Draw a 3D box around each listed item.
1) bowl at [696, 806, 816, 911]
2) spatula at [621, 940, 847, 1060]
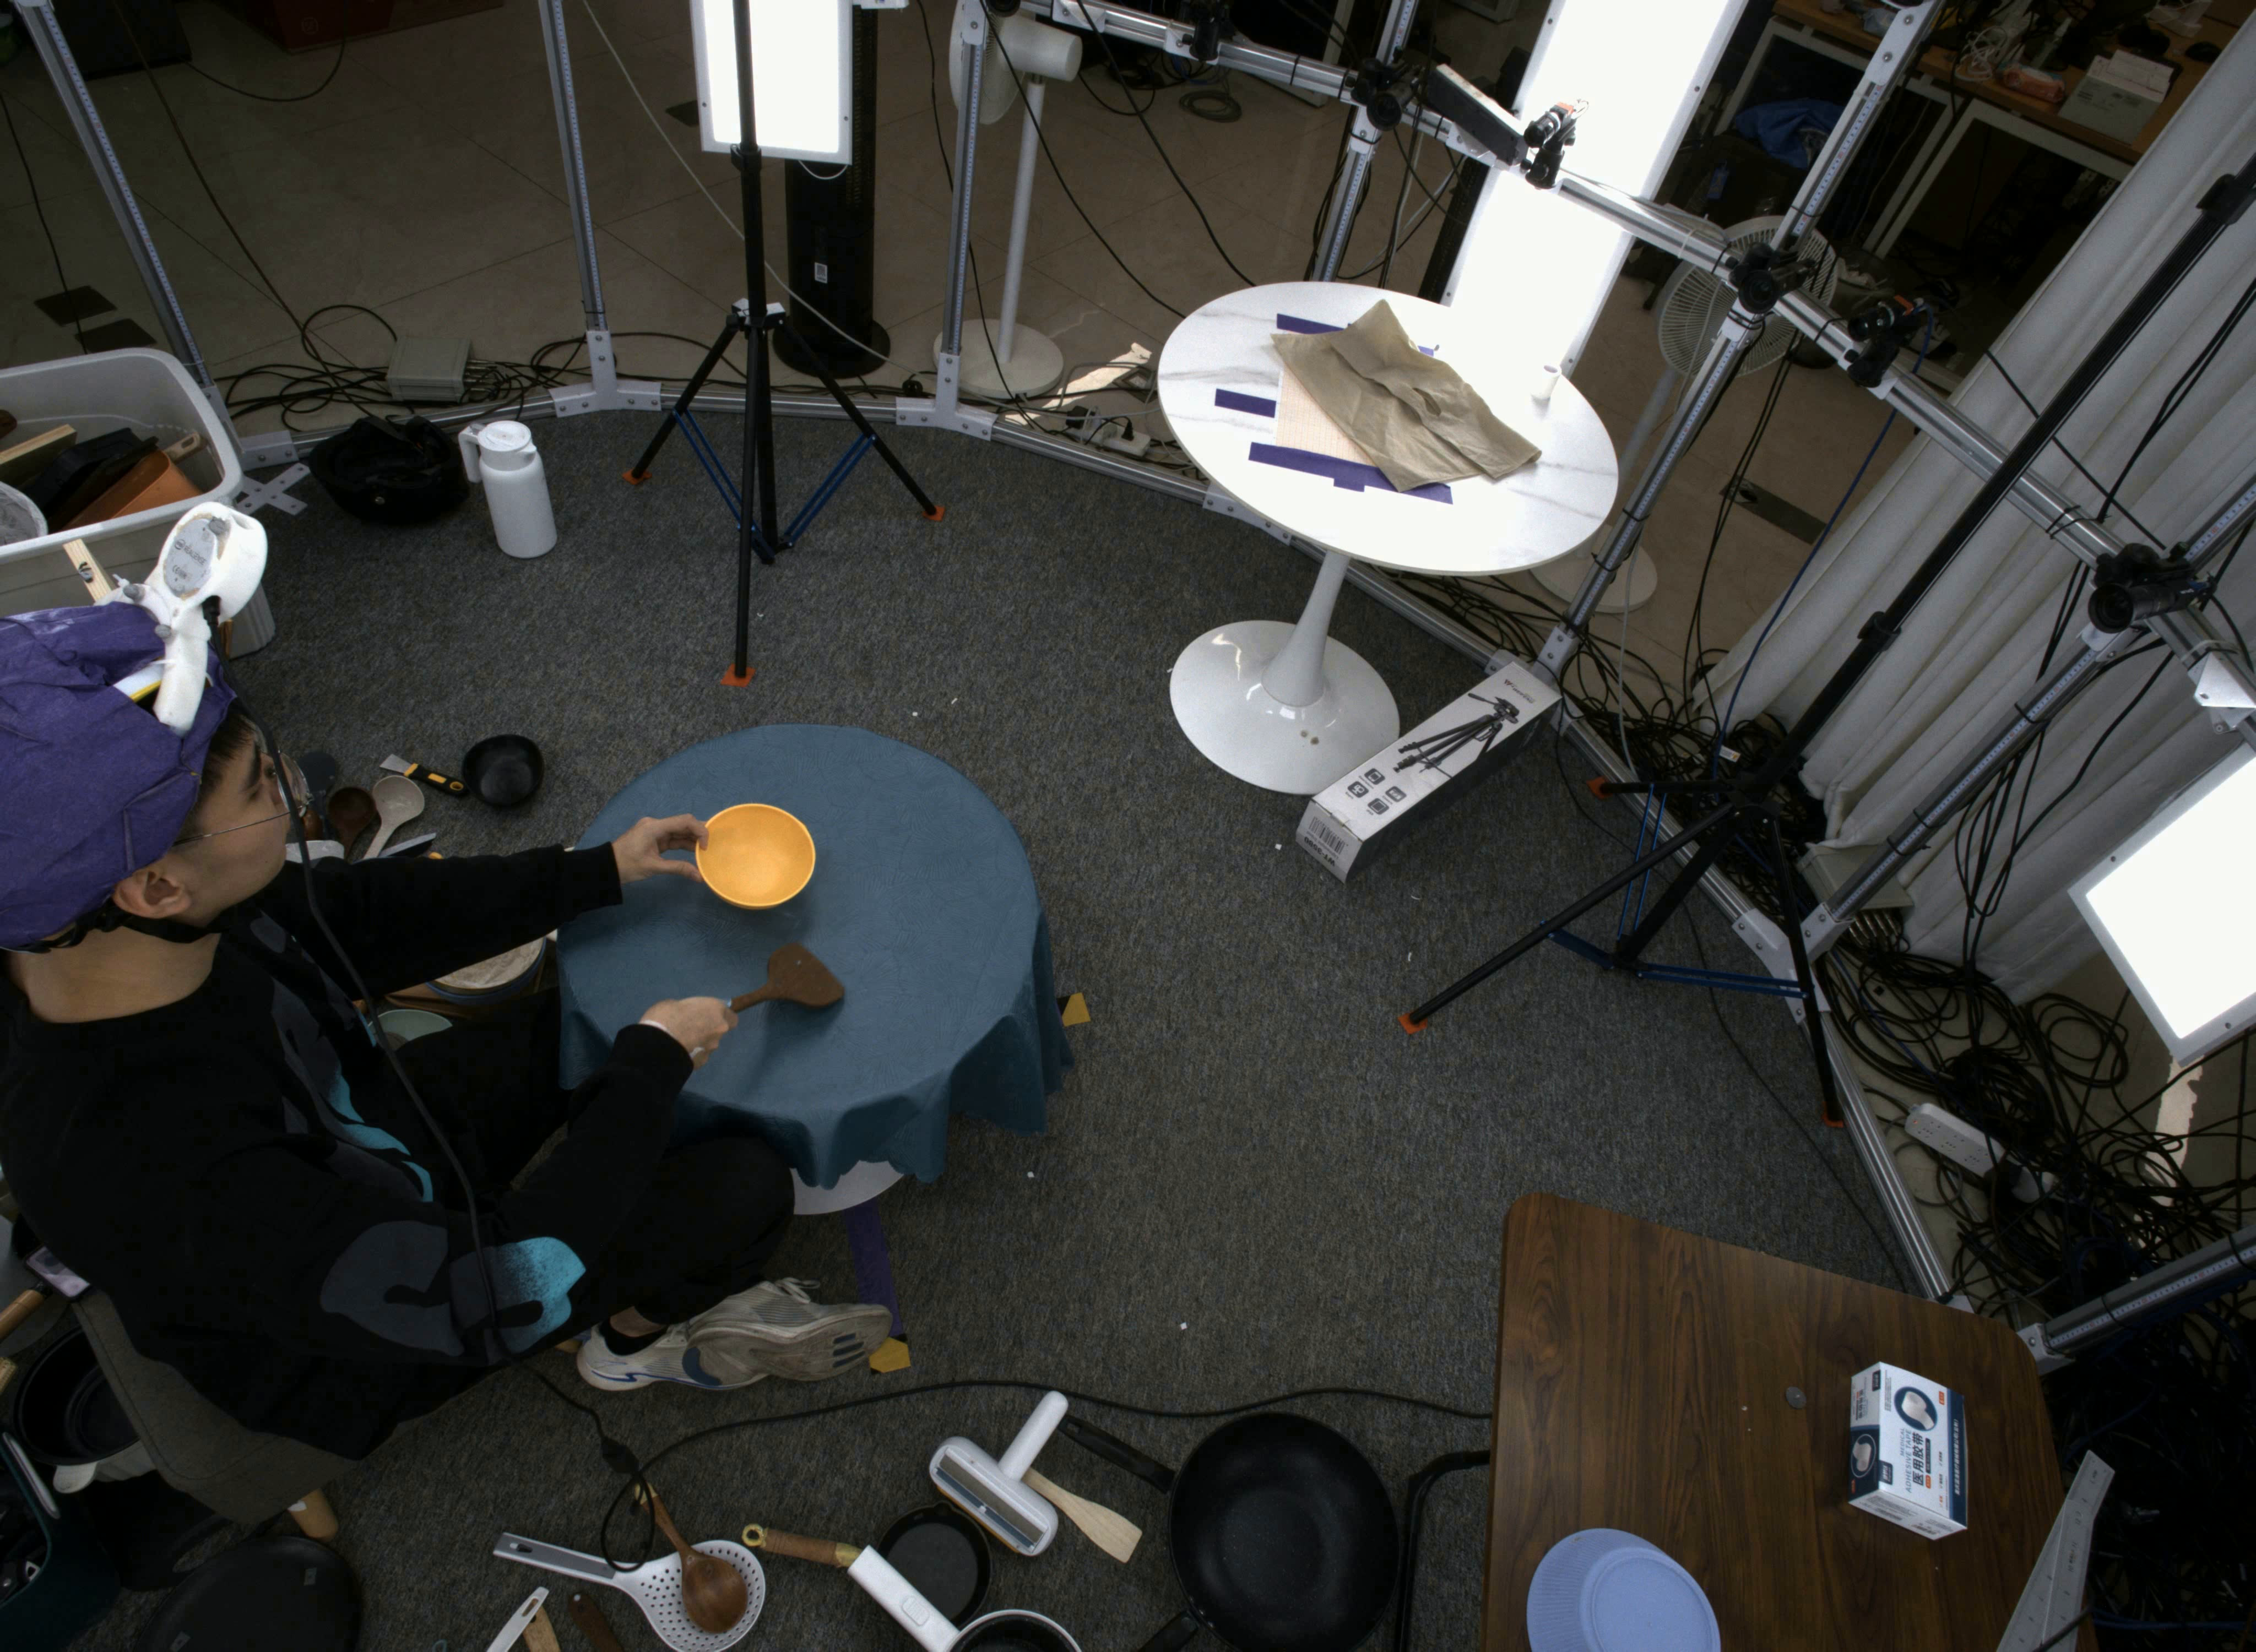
[{"bbox_3d":[-0.464,0.050,1.614,0.146,0.061,0.143,10,57,-14],"label":"bowl"},{"bbox_3d":[-0.430,0.192,1.418,0.095,0.016,0.388,45,16,7],"label":"spatula"}]
